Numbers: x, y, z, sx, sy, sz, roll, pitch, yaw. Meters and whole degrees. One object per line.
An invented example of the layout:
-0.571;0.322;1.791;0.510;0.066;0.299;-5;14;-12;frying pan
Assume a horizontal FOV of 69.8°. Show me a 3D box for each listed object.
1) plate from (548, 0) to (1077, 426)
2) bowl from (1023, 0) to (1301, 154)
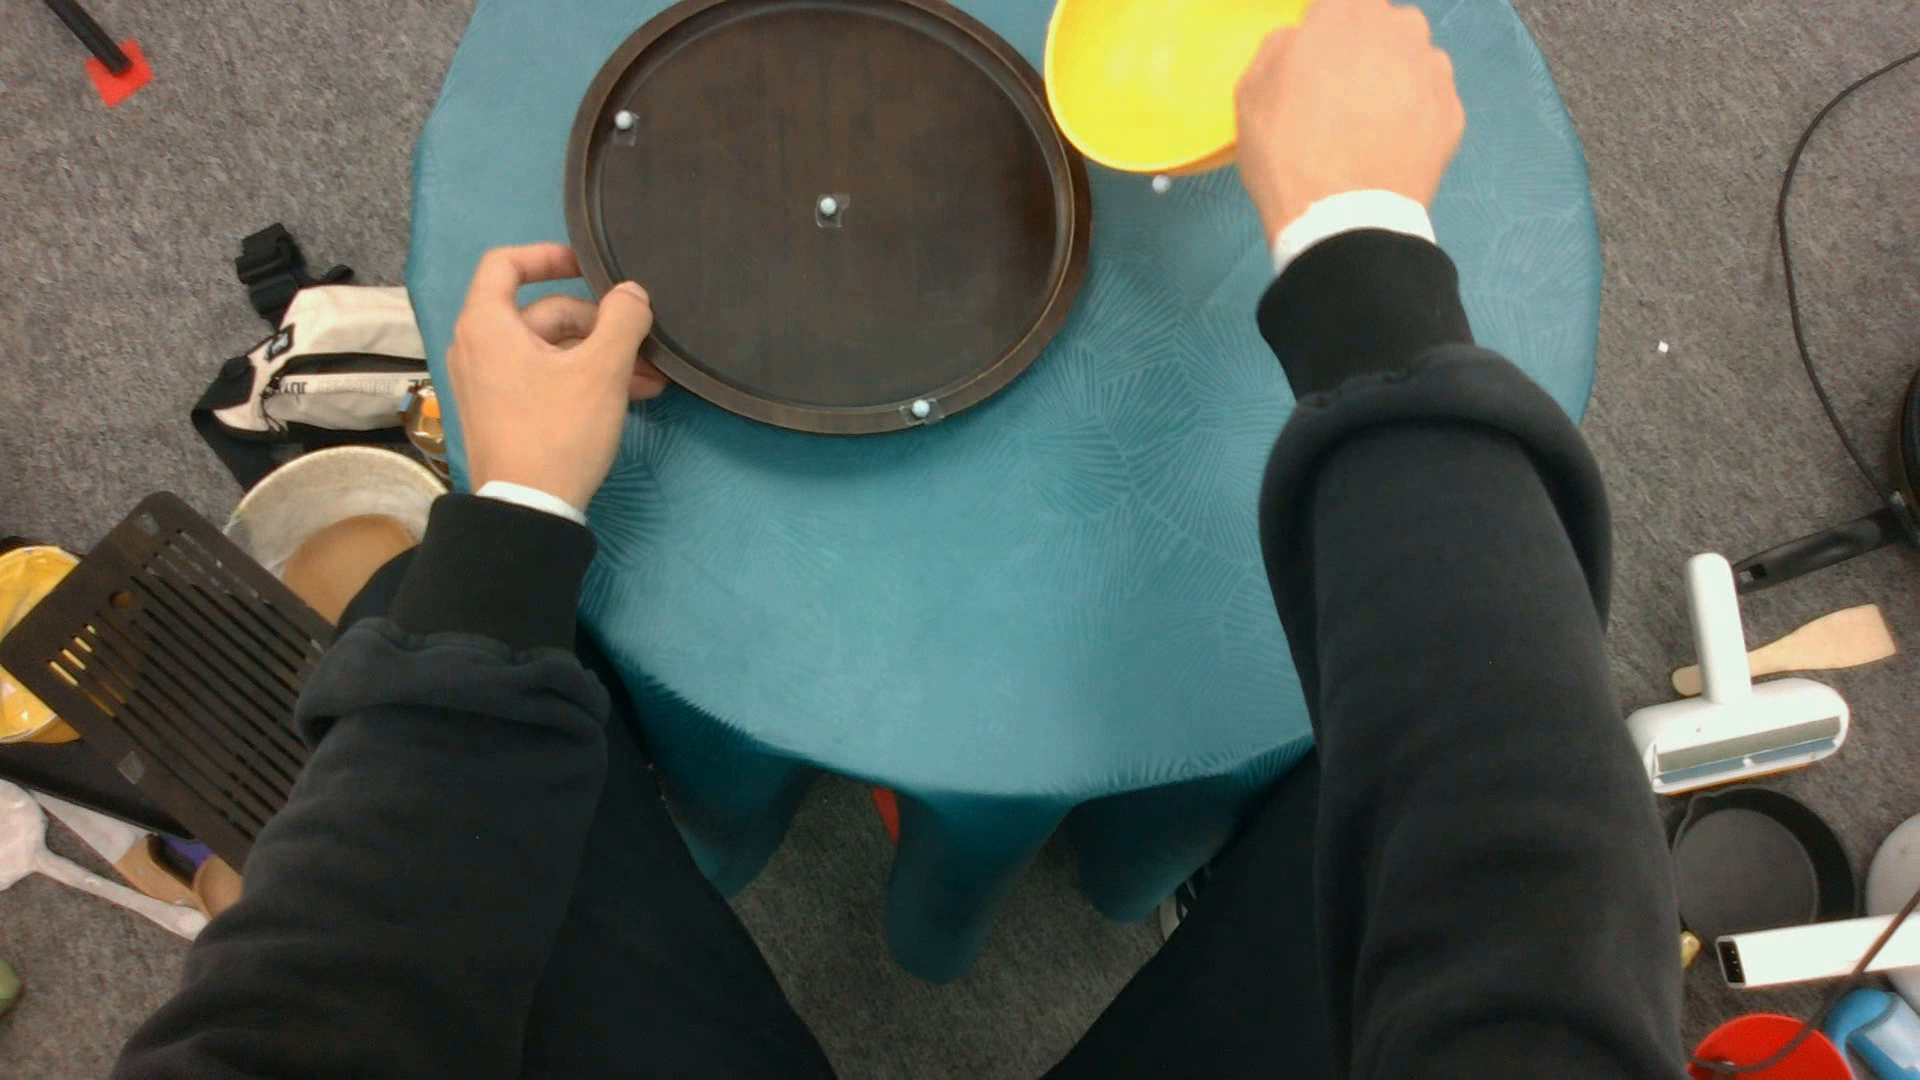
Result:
-0.068;-0.171;0.667;0.255;0.029;0.255;3;72;-11;plate
0.102;-0.237;0.629;0.060;0.145;0.145;16;69;-46;bowl
